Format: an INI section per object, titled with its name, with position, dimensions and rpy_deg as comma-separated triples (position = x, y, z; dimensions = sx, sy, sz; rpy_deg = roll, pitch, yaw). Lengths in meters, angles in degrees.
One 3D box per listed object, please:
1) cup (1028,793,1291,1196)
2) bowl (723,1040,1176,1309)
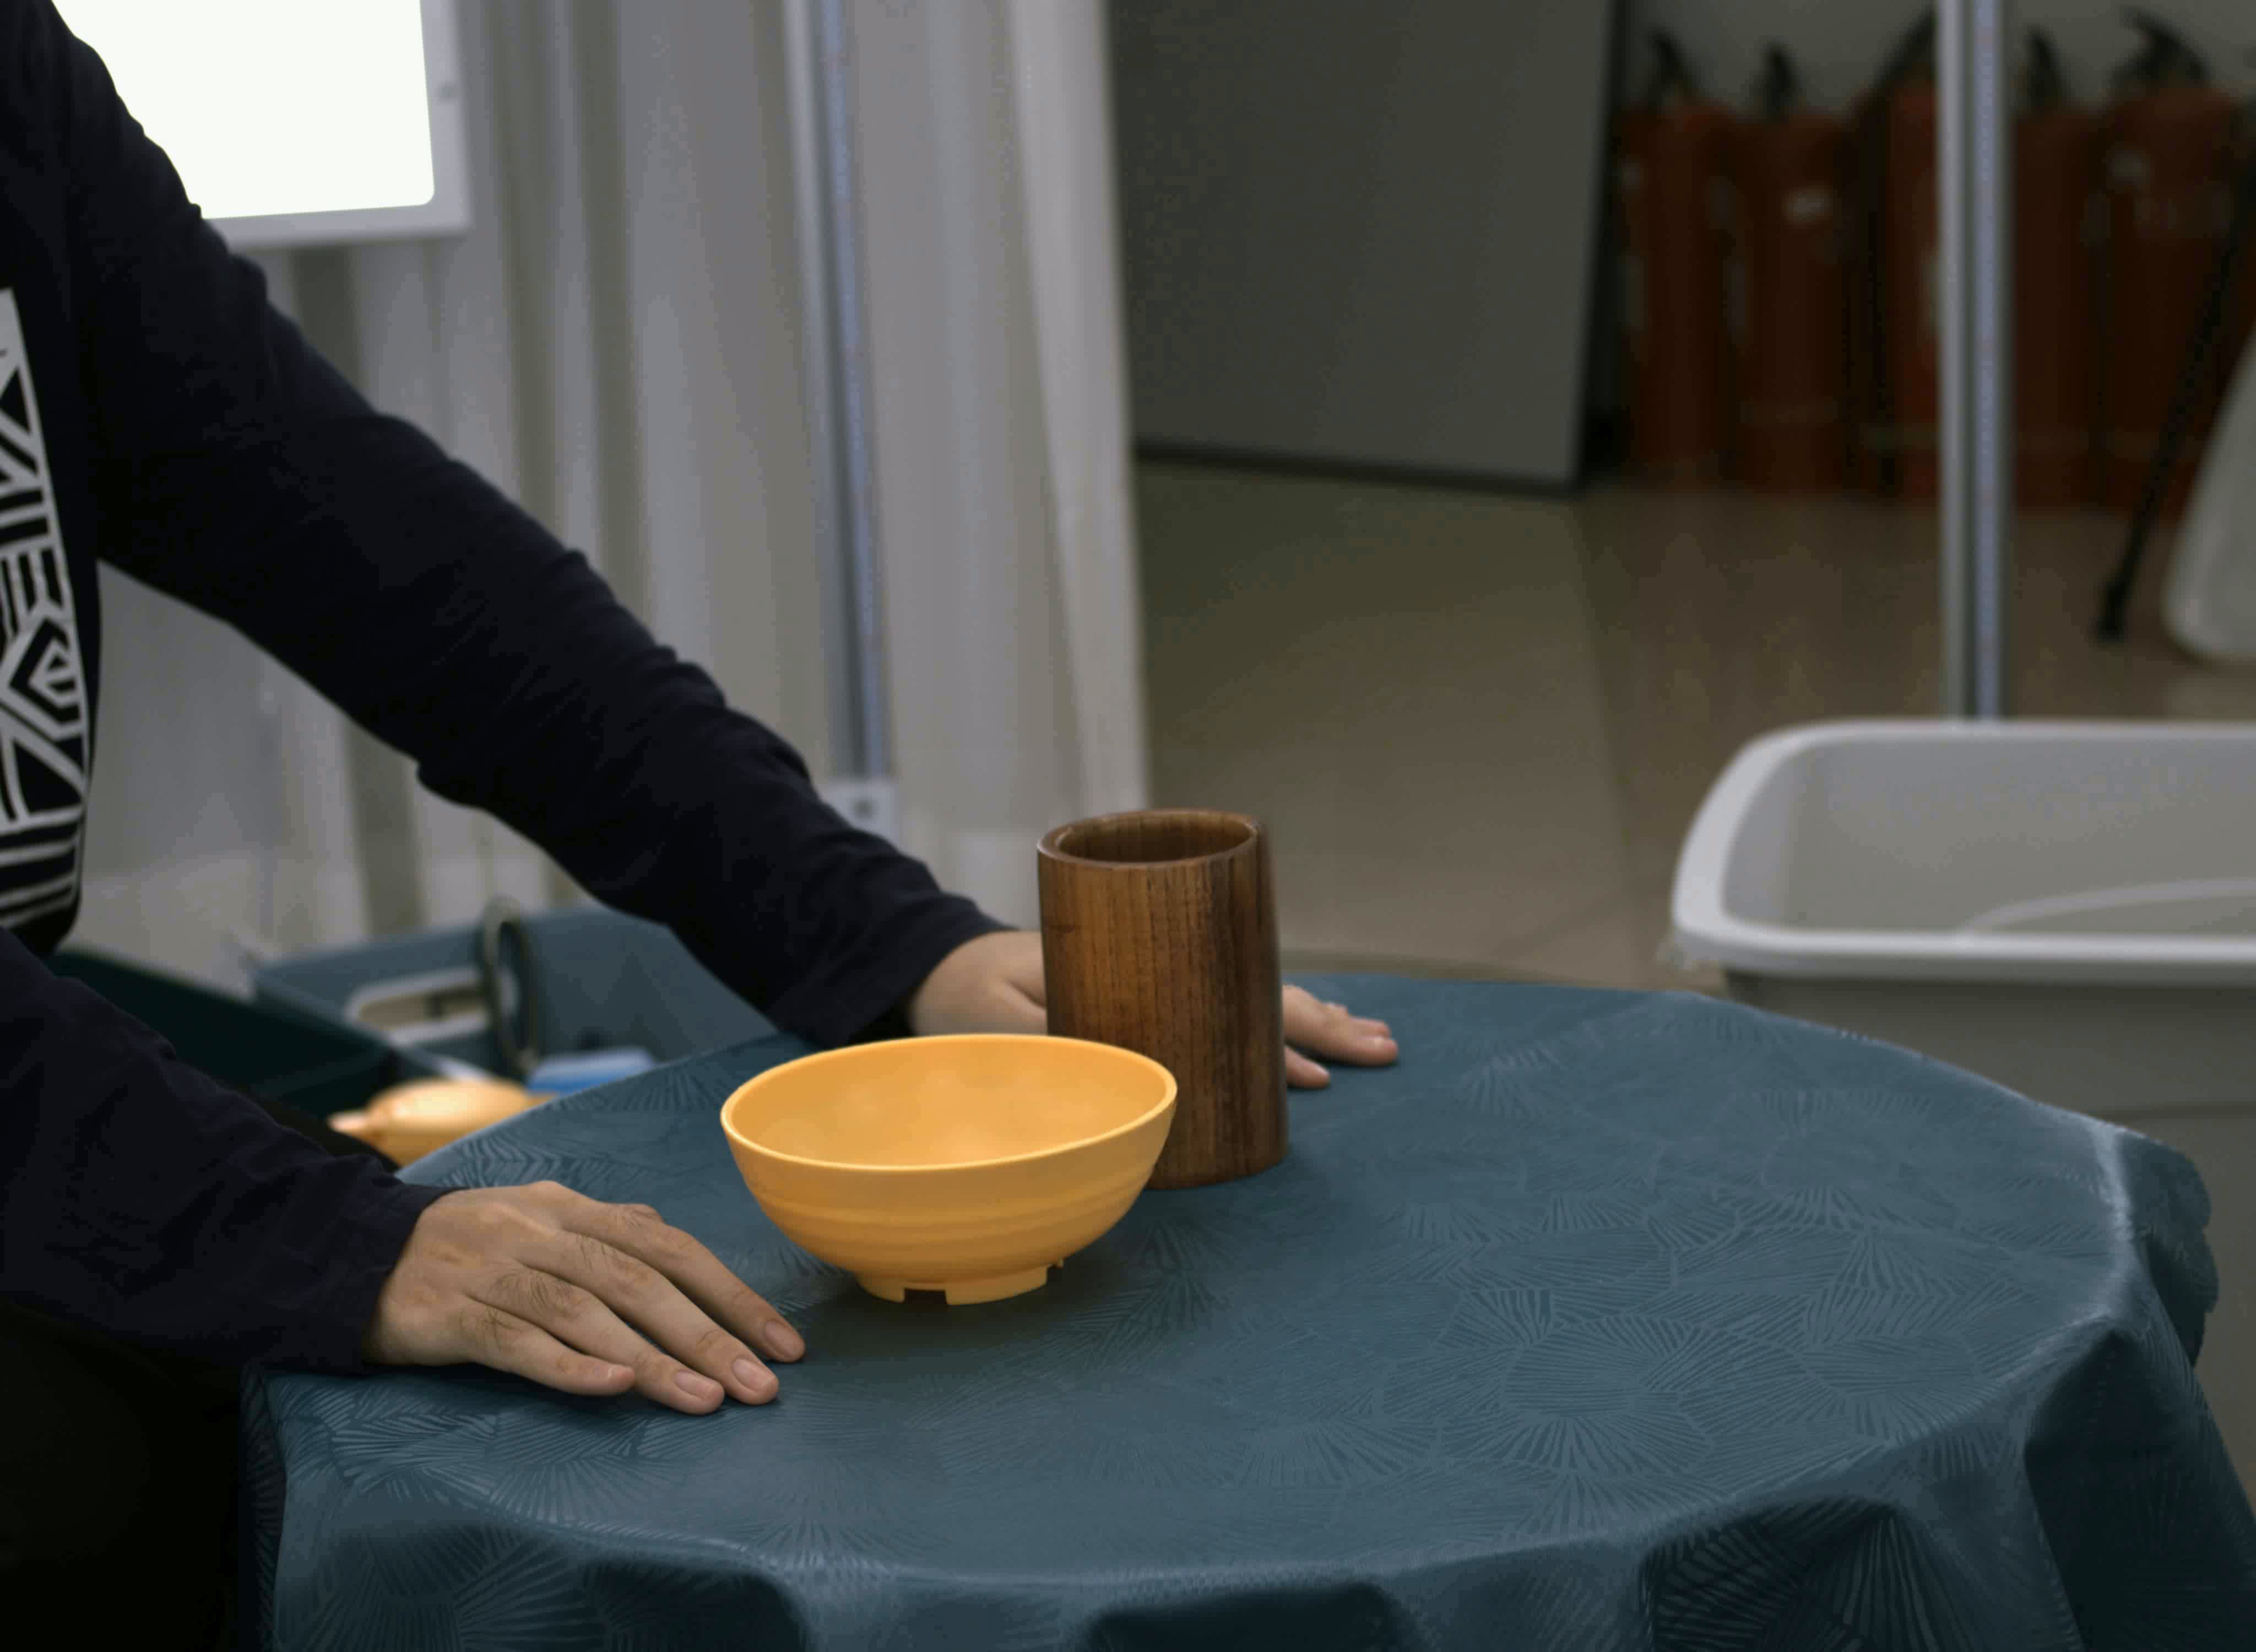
[cup]
position = 0.011, 0.055, 1.796
dimensions = 0.086, 0.120, 0.088
rpy_deg = -4, 12, 0
[bowl]
position = -0.054, 0.113, 1.697
dimensions = 0.143, 0.061, 0.145
rpy_deg = -4, 13, 0
